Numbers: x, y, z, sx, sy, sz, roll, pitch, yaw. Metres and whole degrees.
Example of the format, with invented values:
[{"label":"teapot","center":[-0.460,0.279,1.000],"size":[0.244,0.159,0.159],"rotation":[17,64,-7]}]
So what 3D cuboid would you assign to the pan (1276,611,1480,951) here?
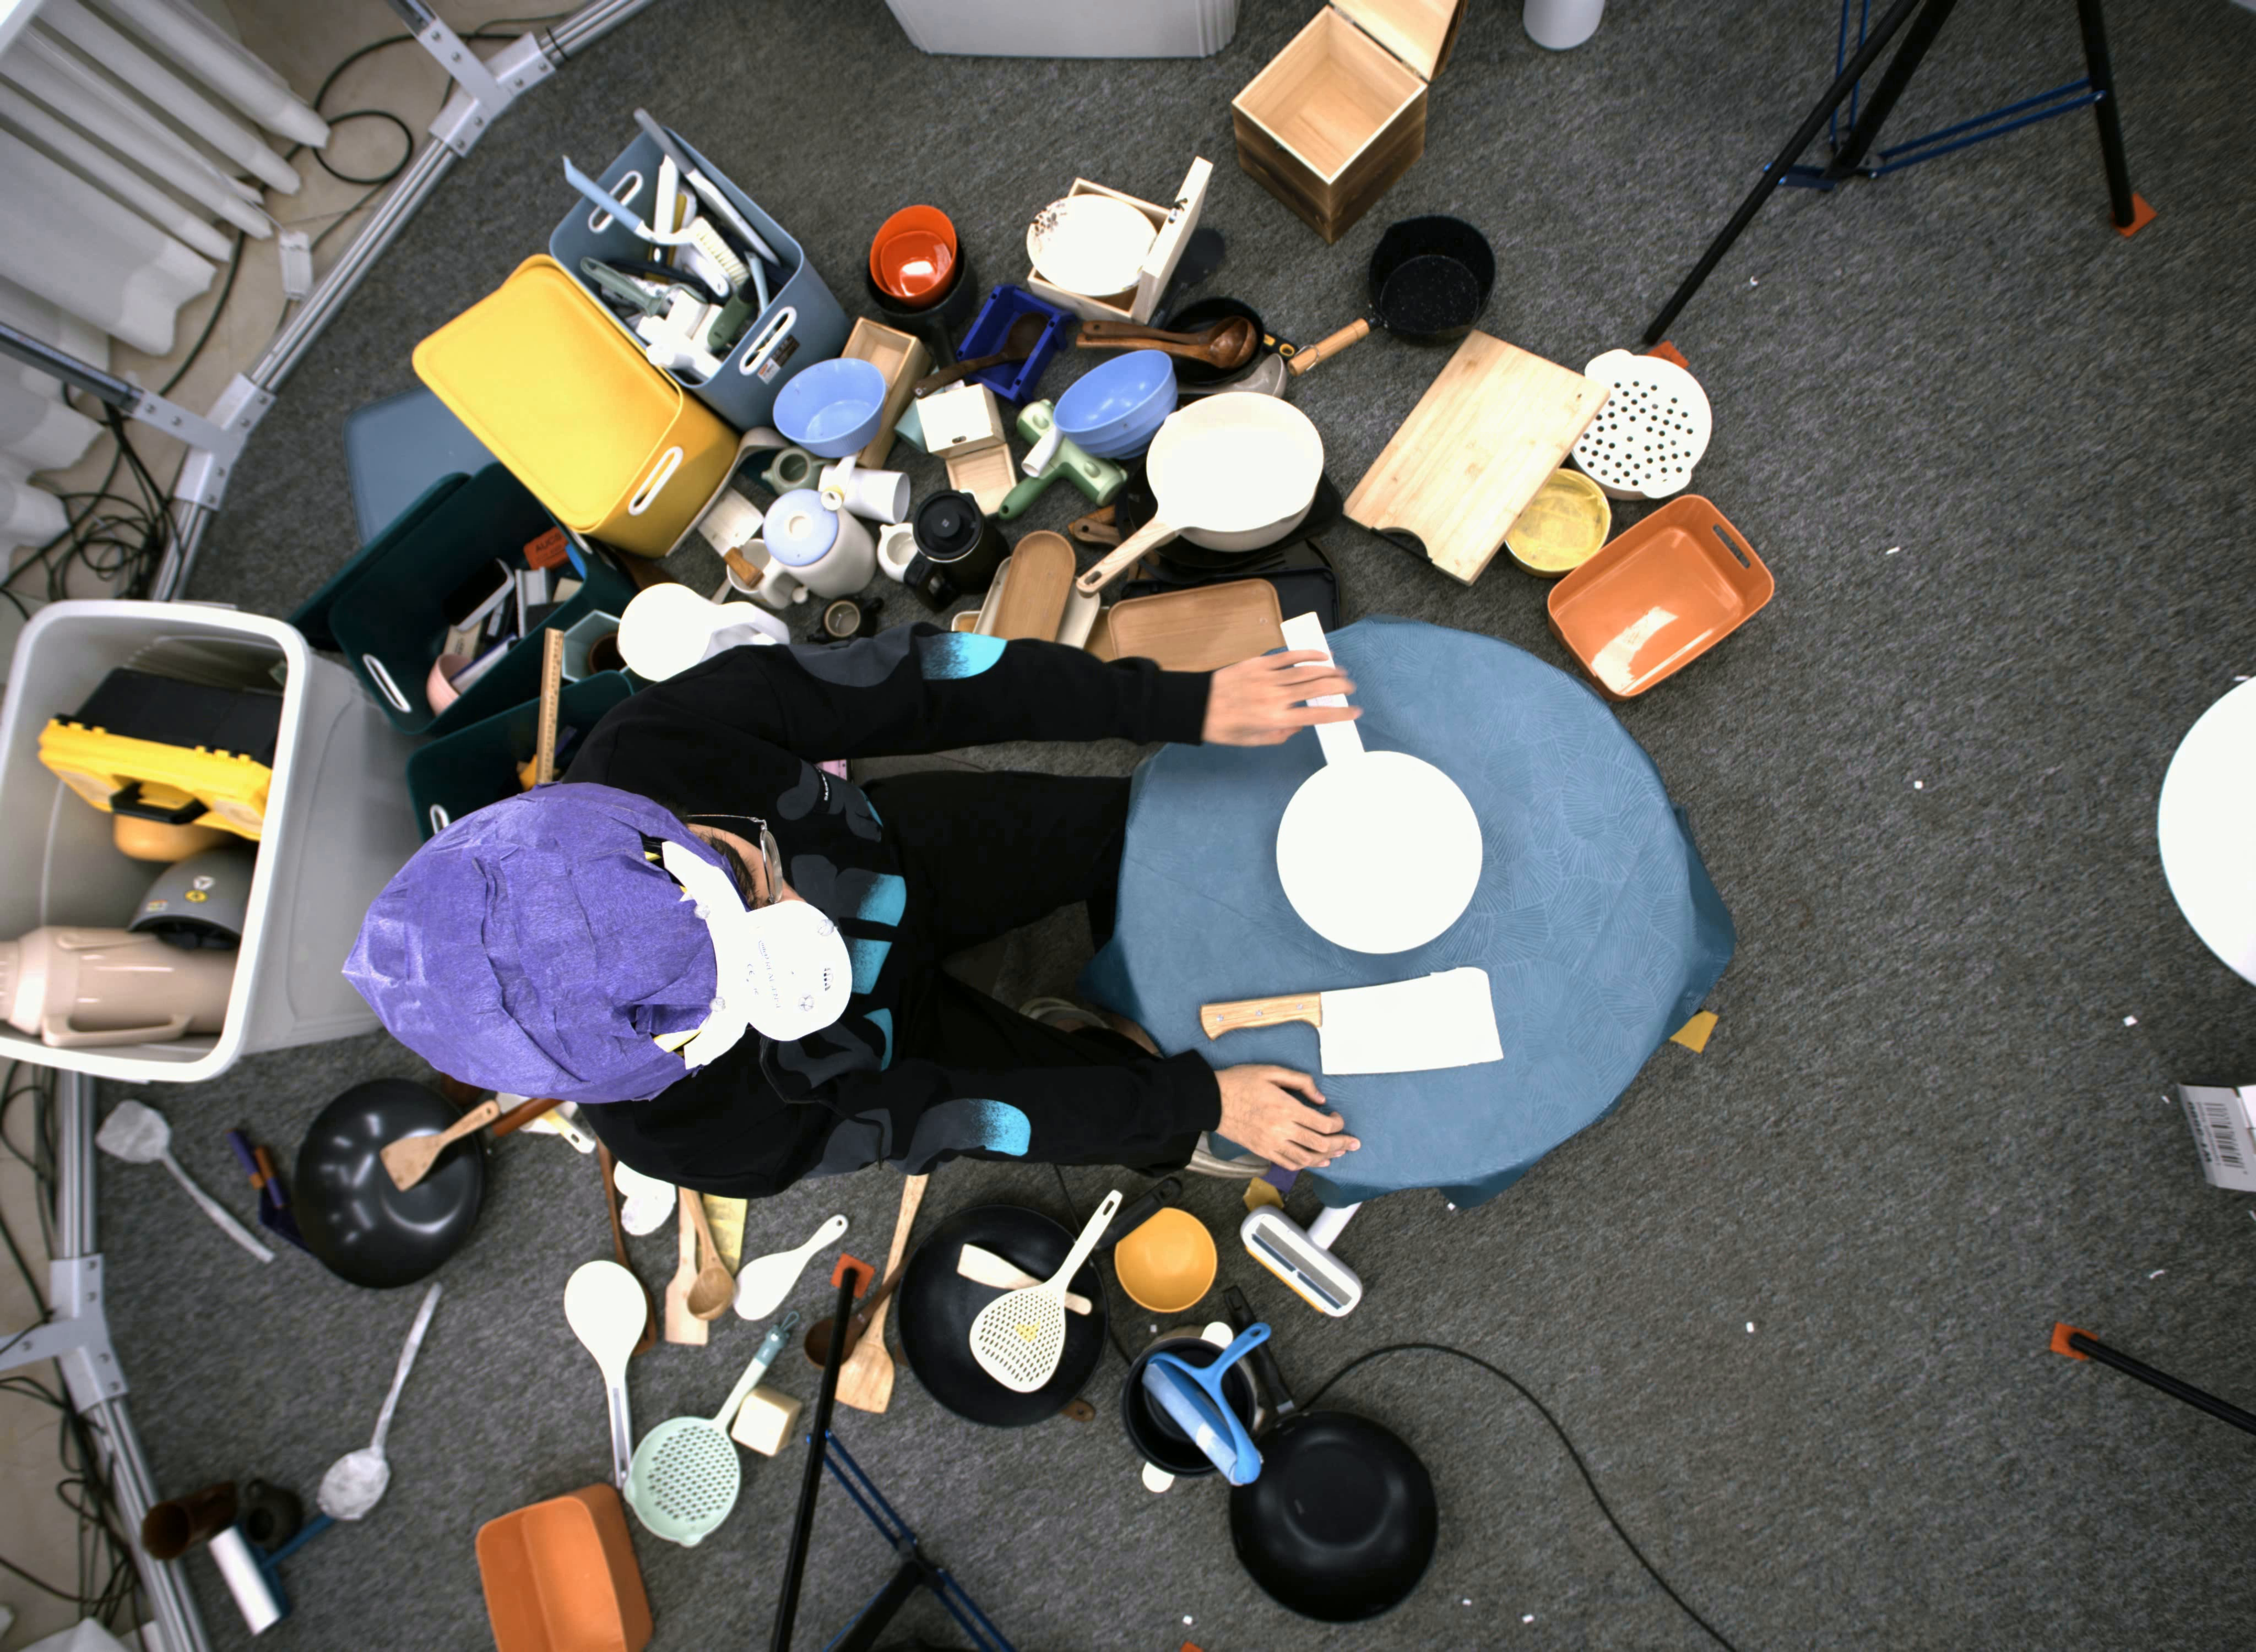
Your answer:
[{"label":"pan","center":[0.233,-0.044,1.423],"size":[0.202,0.102,0.352],"rotation":[-19,83,10]}]

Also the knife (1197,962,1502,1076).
[{"label":"knife","center":[0.230,0.203,1.451],"size":[0.316,0.022,0.113],"rotation":[-3,86,8]}]
